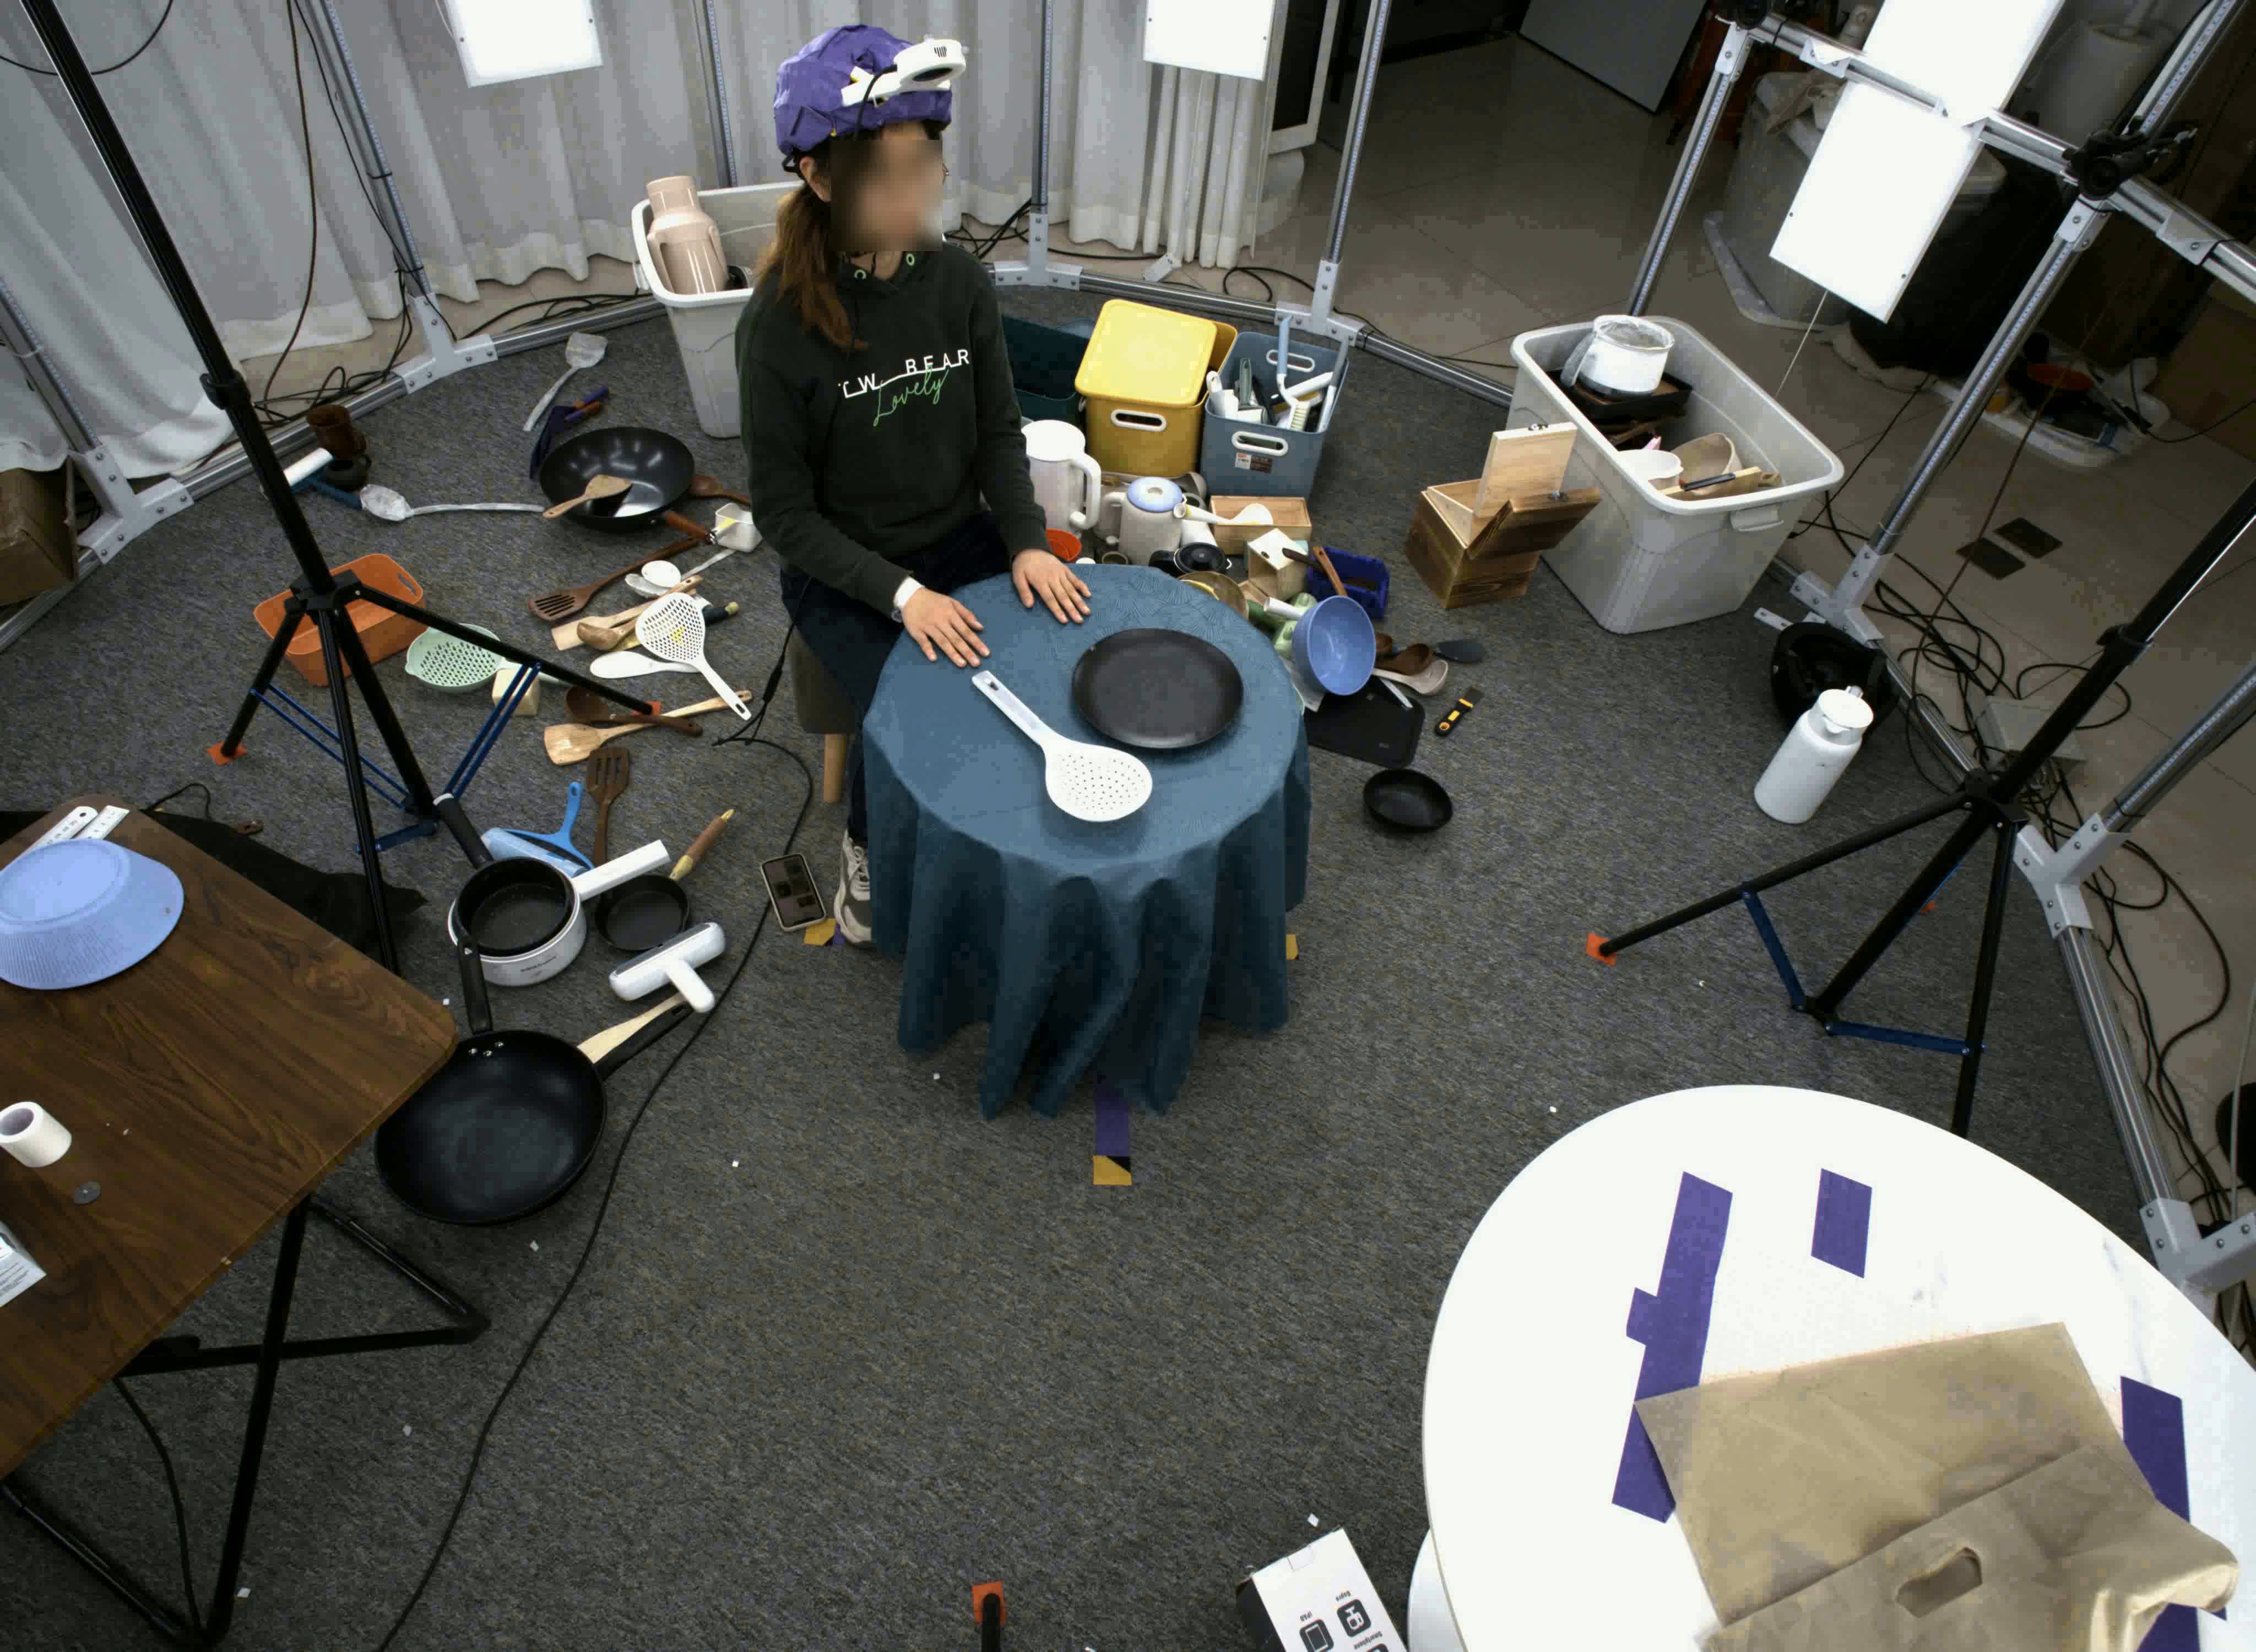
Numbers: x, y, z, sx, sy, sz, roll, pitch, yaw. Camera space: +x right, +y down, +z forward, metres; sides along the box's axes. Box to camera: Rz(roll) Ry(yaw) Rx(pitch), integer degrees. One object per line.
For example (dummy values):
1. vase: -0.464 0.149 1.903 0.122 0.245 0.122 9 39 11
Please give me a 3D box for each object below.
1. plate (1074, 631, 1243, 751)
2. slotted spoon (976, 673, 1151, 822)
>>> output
1. plate: 0.043 -0.193 1.840 0.244 0.023 0.250 2 49 -2
2. slotted spoon: -0.103 -0.112 1.745 0.137 0.044 0.356 -26 54 -27
